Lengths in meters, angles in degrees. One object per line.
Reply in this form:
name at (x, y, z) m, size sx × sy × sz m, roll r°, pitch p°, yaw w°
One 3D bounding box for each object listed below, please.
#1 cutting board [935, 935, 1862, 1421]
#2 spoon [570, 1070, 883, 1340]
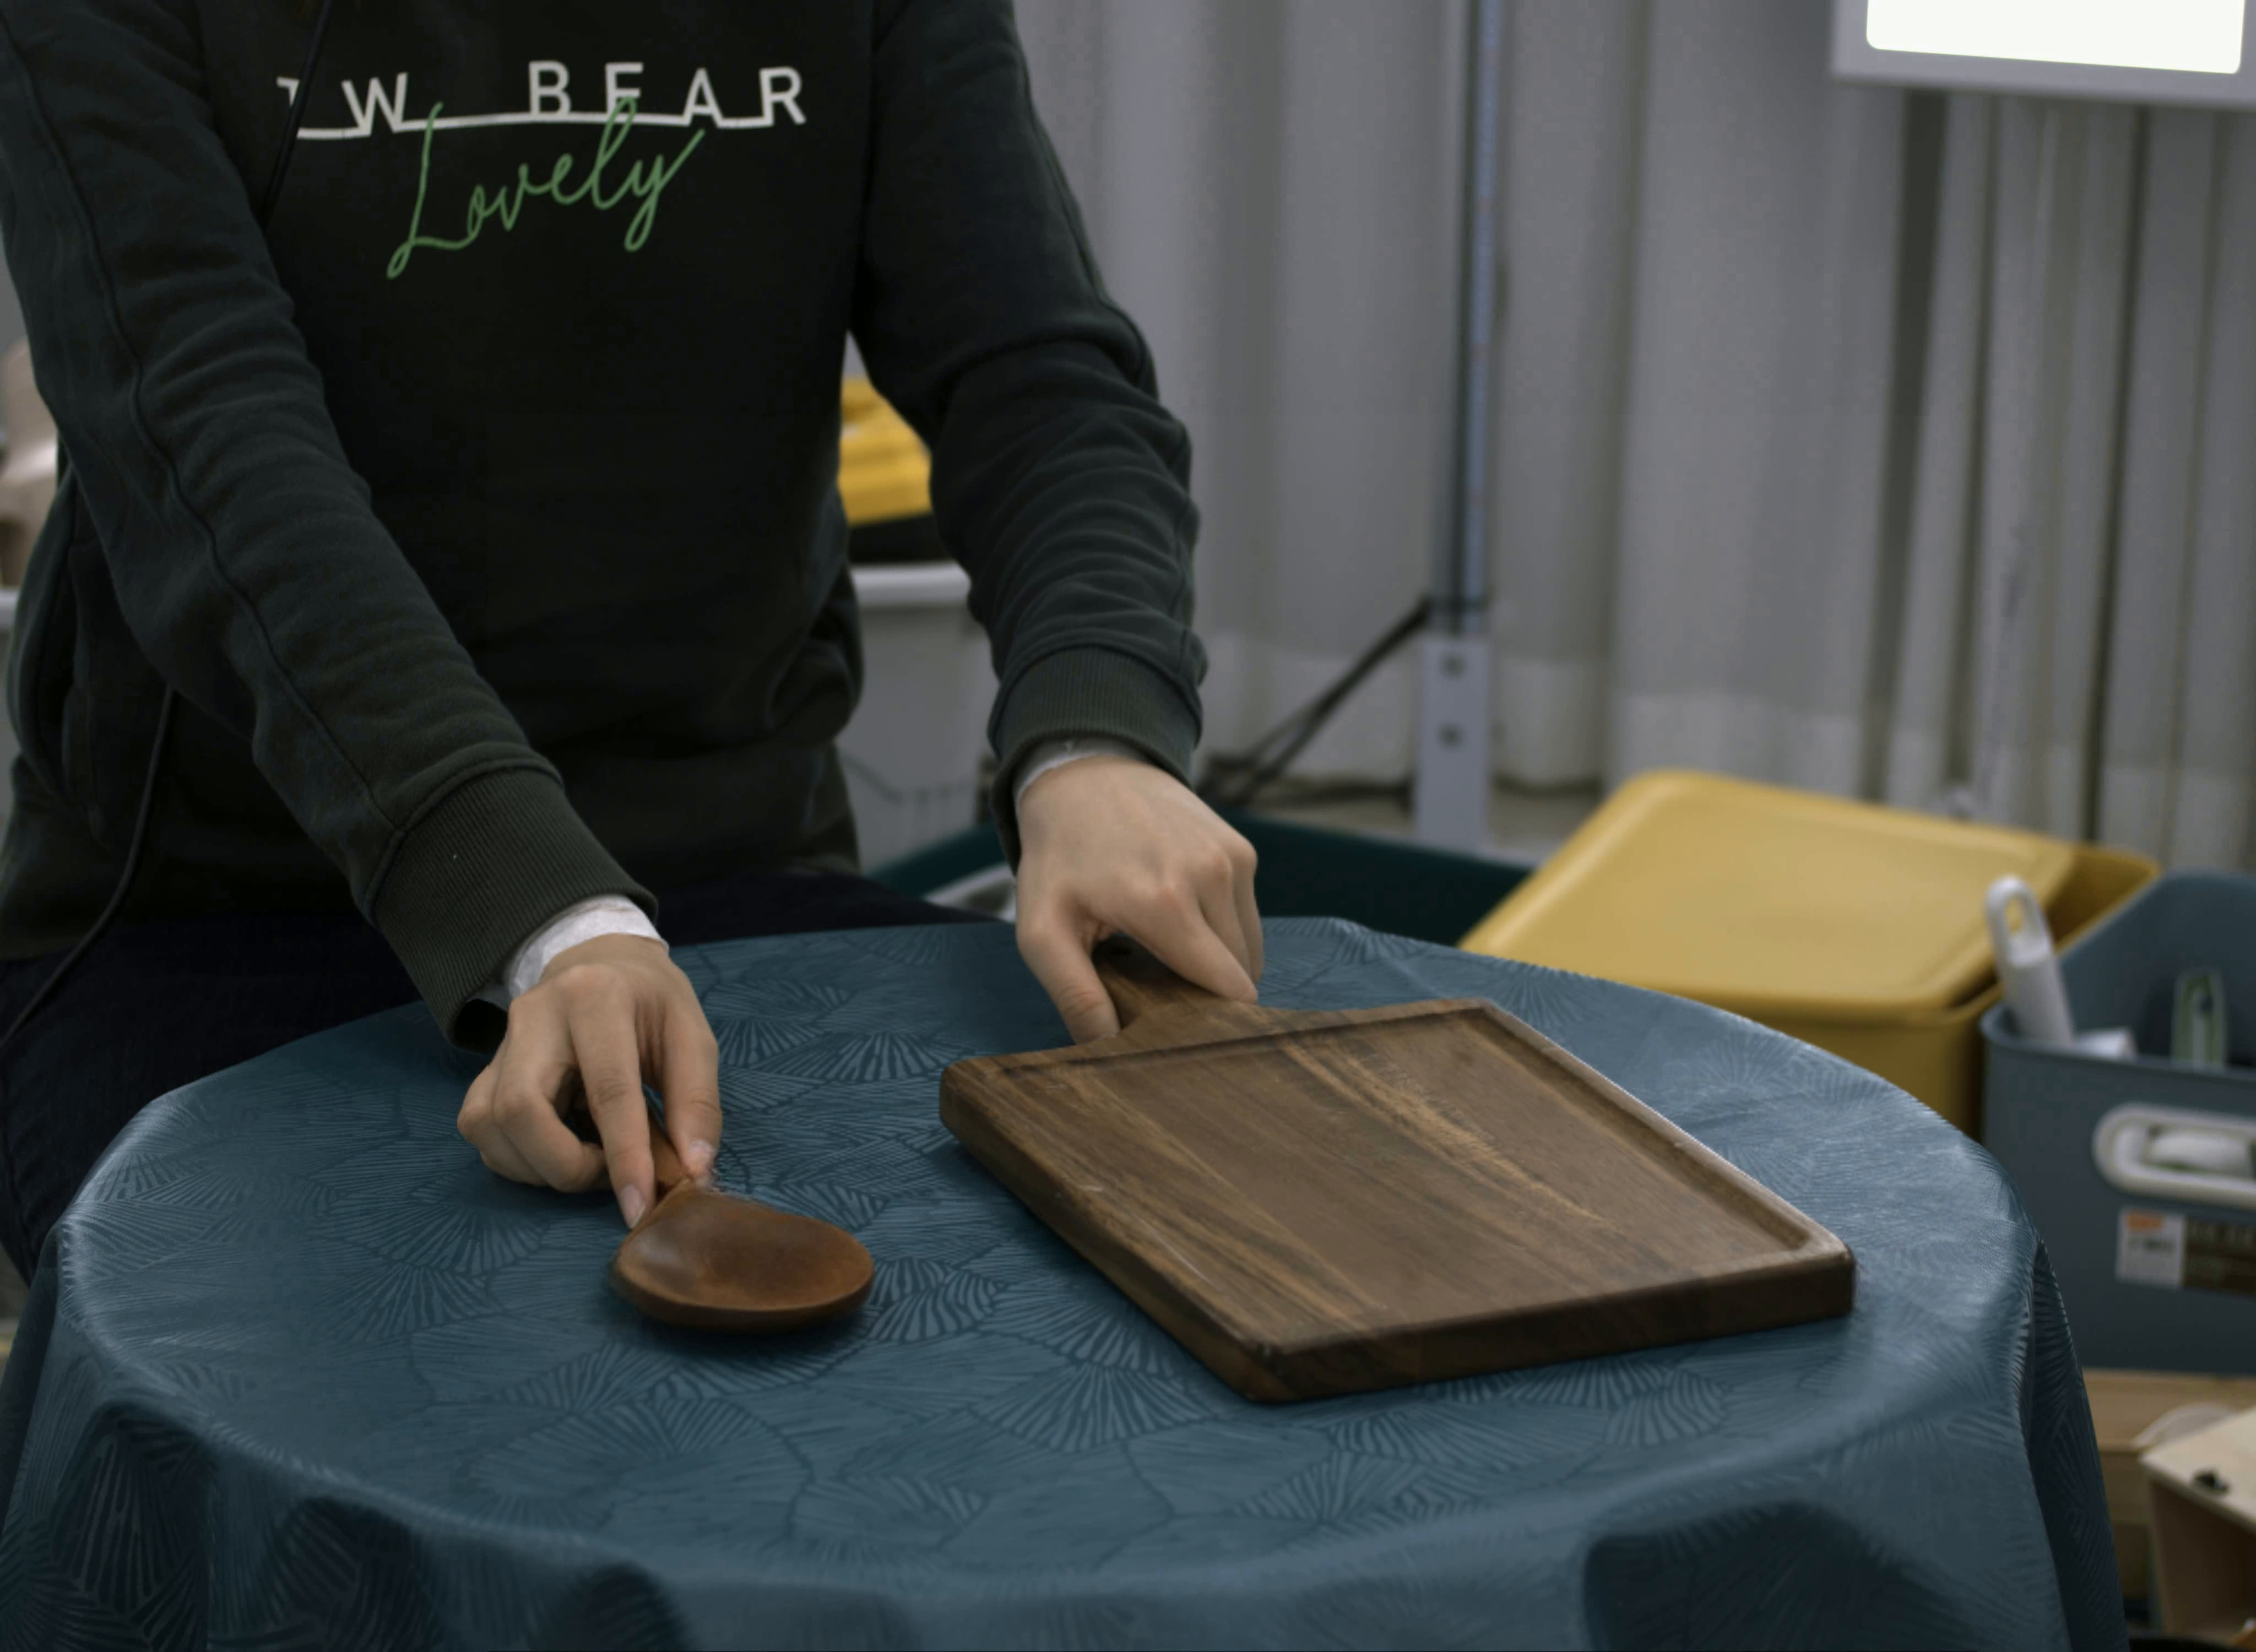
cutting board at (0.057, 0.096, 1.637) m, size 0.201 × 0.023 × 0.348 m, roll -7°, pitch 19°, yaw -22°
spoon at (-0.131, 0.114, 1.579) m, size 0.075 × 0.017 × 0.213 m, roll -7°, pitch 19°, yaw -19°
